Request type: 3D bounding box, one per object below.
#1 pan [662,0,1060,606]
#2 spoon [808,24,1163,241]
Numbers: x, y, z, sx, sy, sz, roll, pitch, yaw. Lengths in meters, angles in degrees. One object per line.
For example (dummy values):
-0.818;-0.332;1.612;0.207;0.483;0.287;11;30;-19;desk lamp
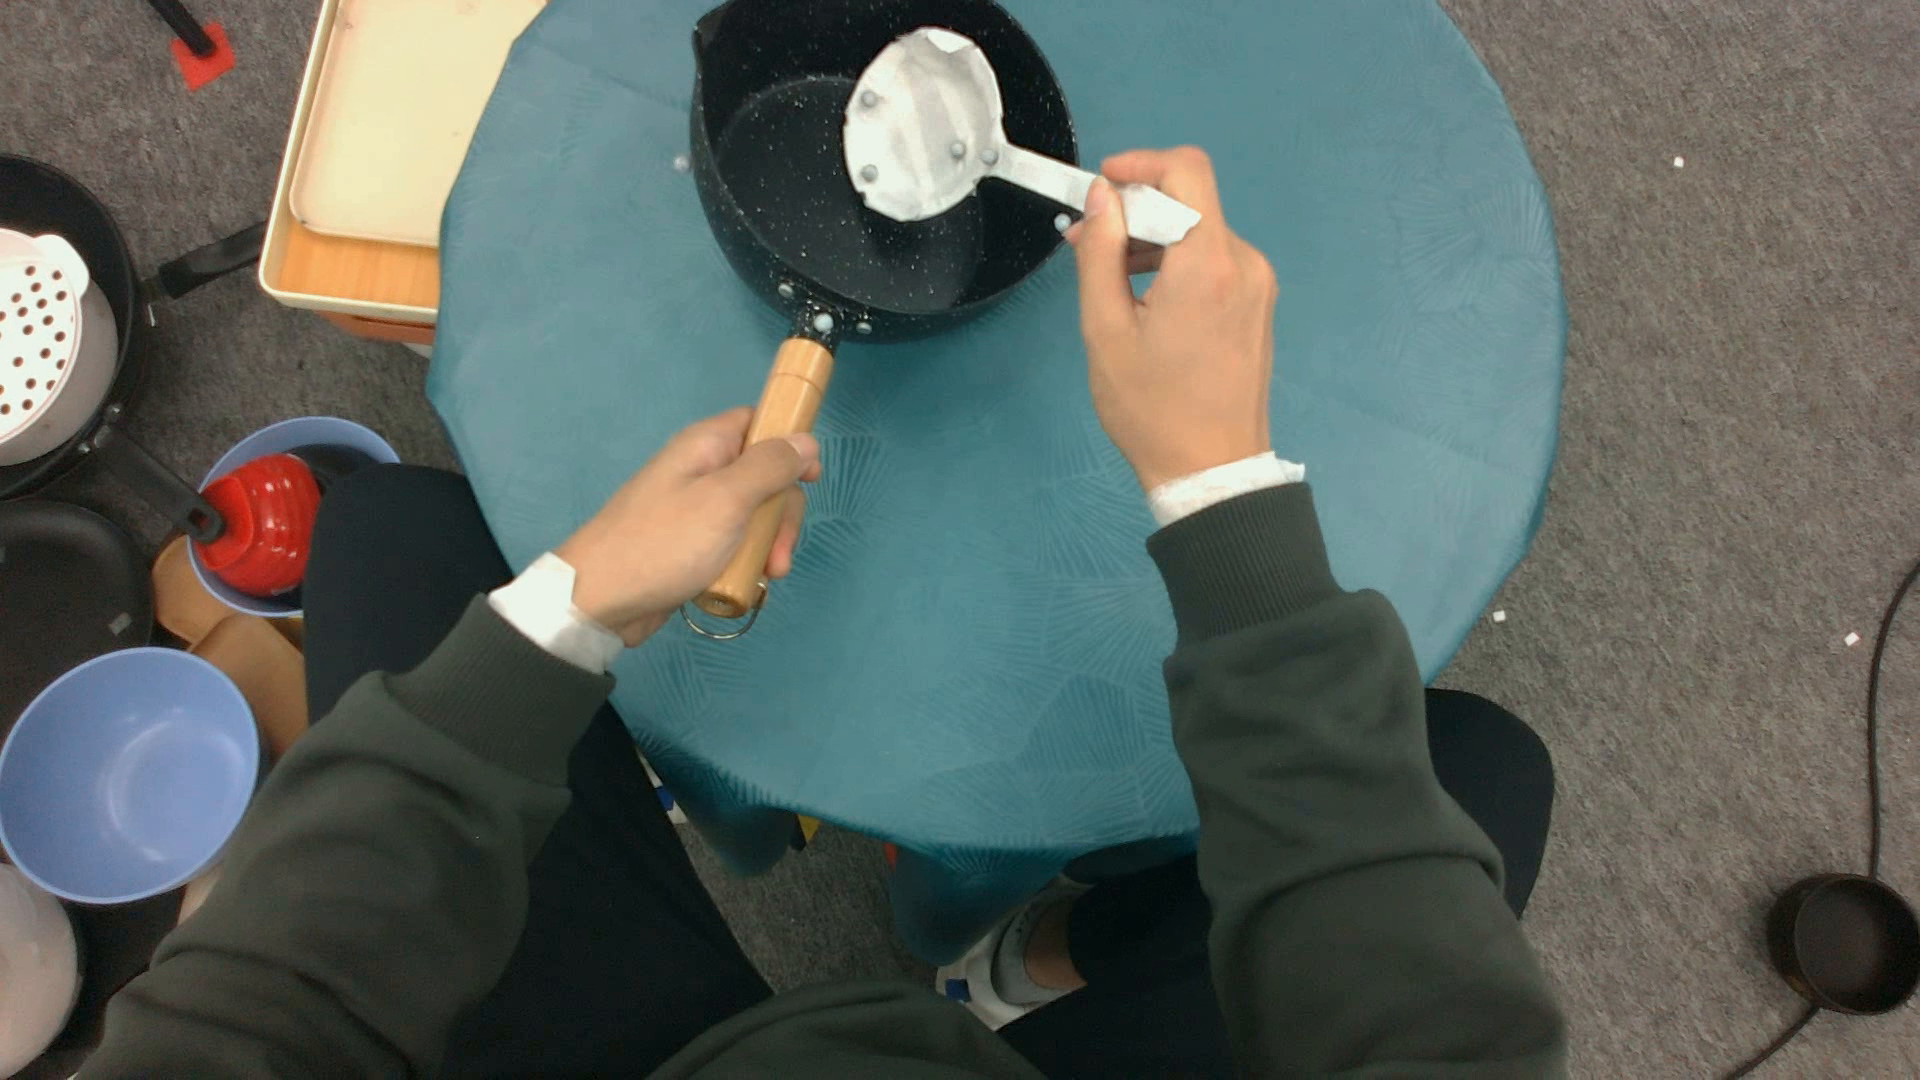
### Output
-0.070;-0.118;0.643;0.207;0.108;0.344;22;68;-16;pan
-0.002;-0.171;0.608;0.059;0.278;0.100;19;104;-28;spoon
